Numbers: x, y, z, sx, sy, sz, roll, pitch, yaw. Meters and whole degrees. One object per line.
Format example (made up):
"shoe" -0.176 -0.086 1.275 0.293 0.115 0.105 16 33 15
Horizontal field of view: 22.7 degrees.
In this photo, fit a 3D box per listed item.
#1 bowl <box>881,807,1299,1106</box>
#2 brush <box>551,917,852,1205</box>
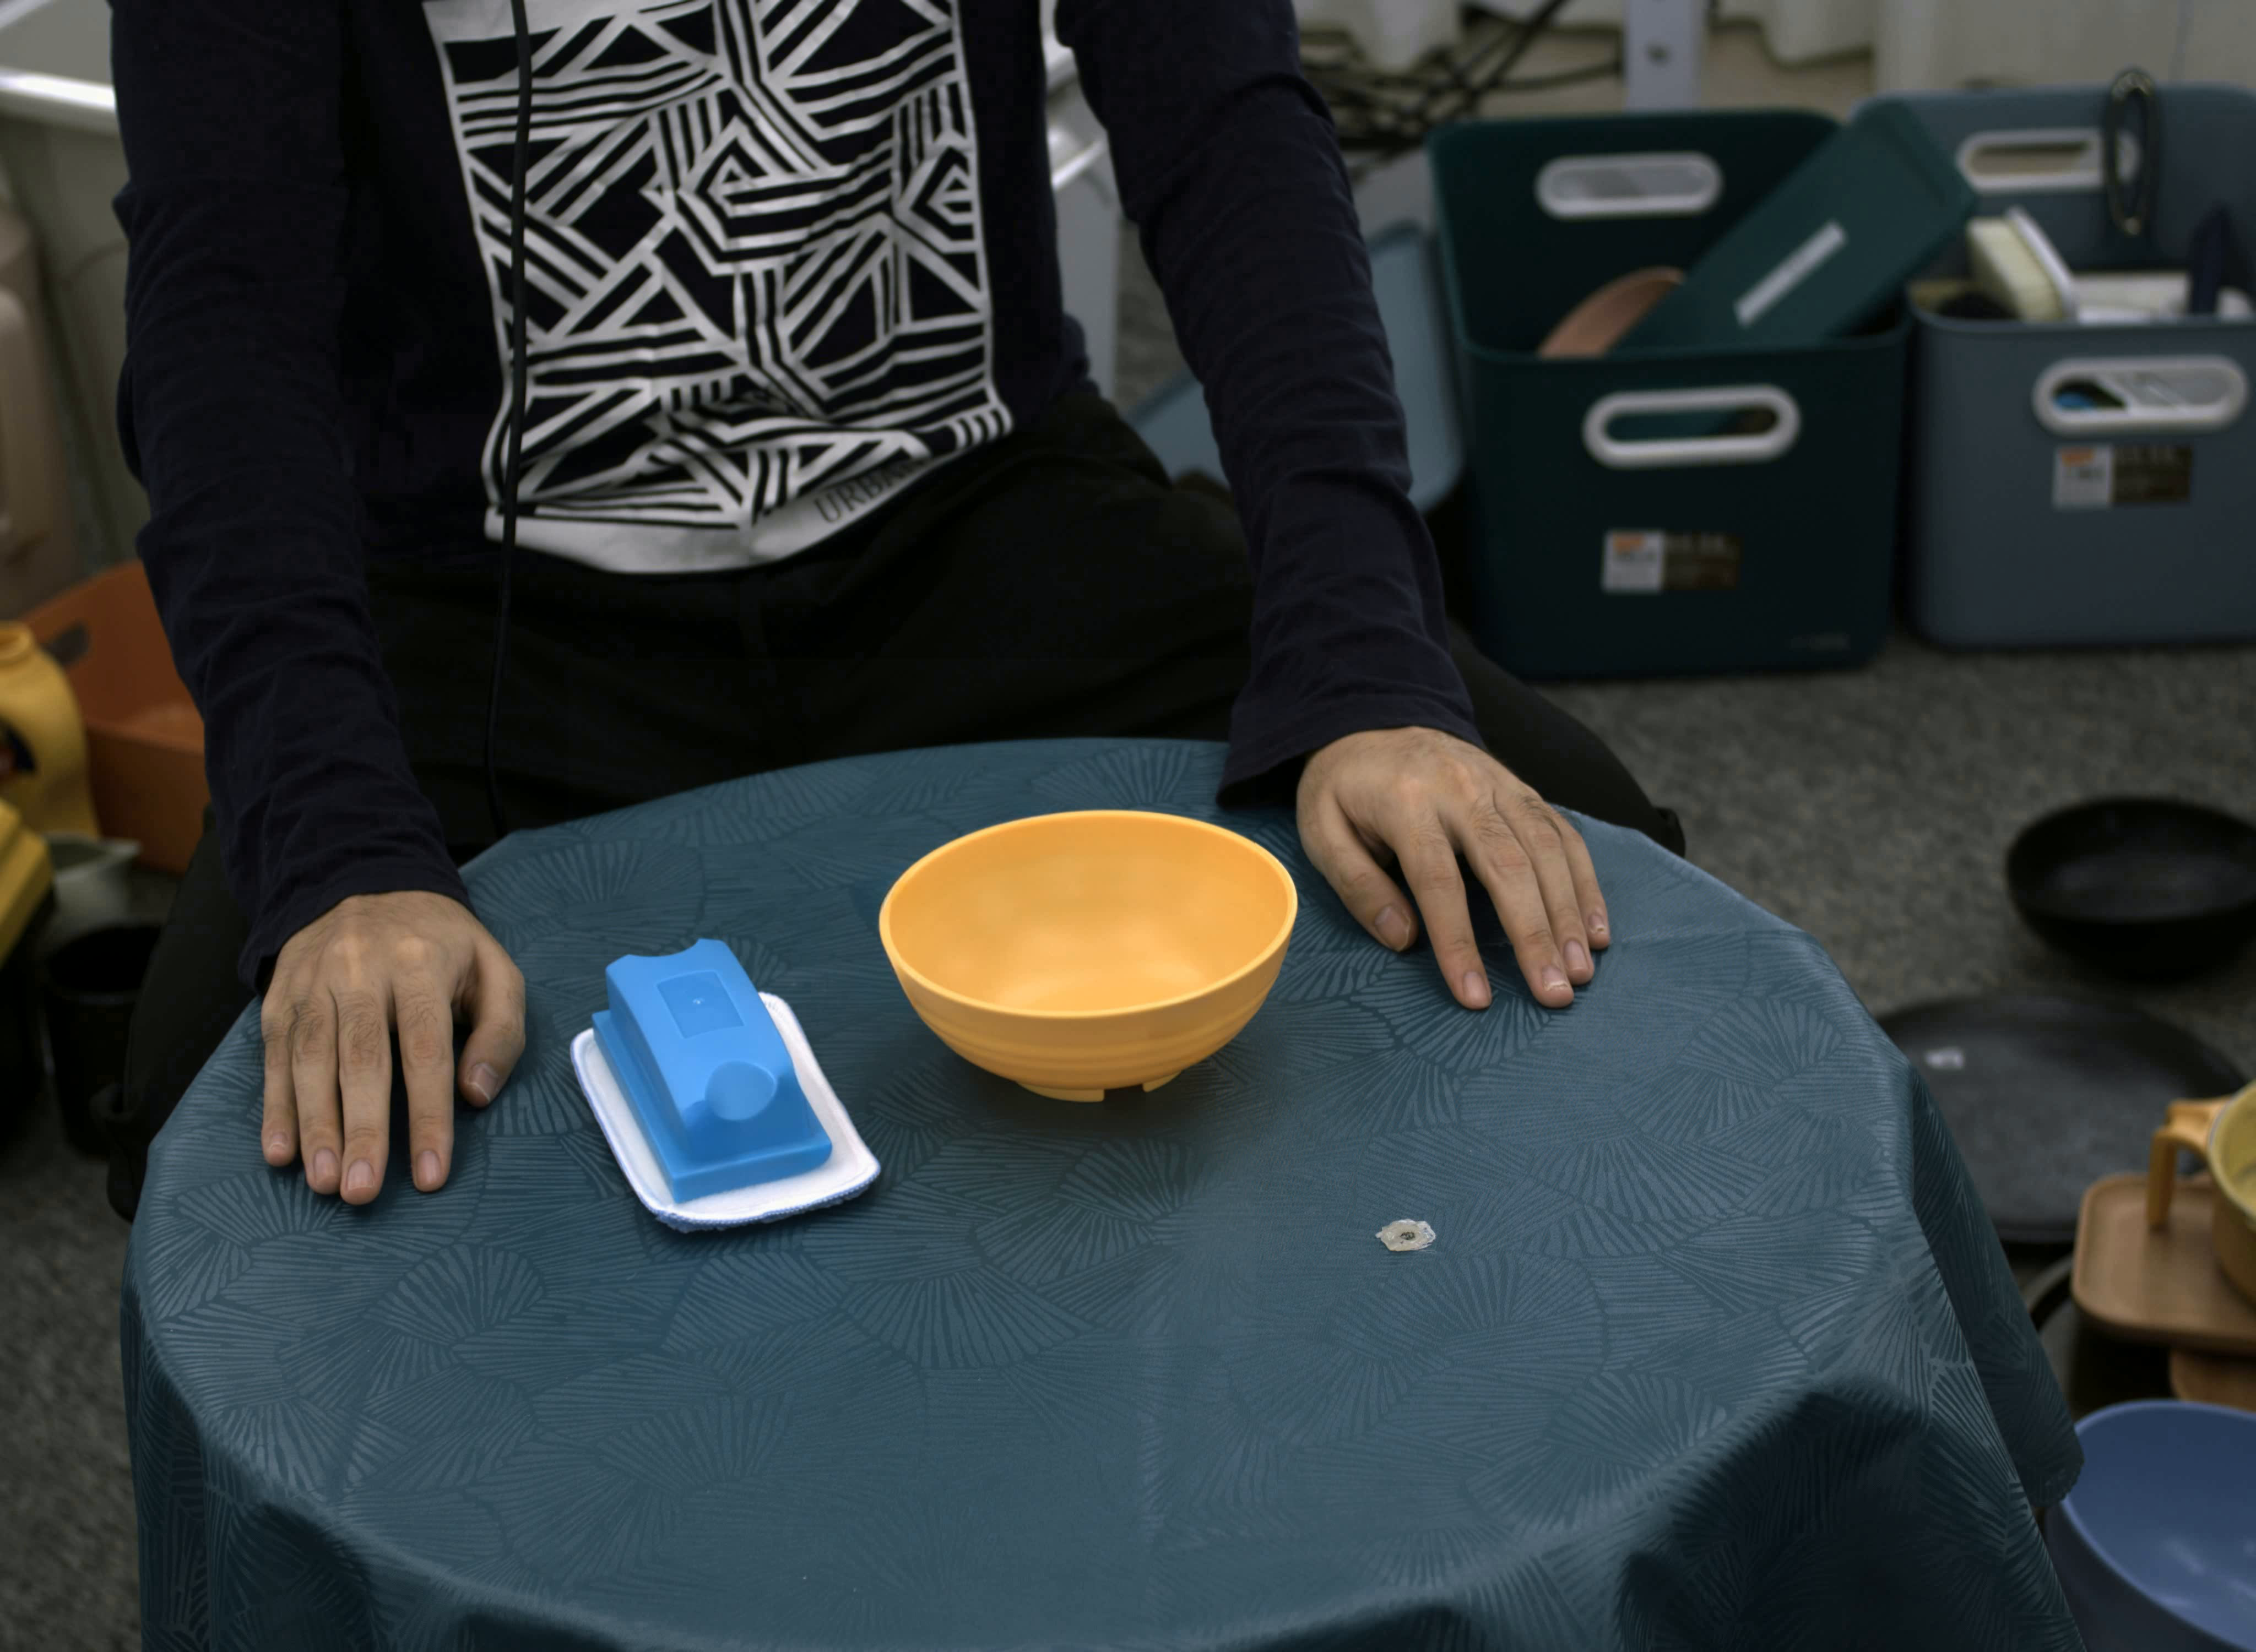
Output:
"bowl" -0.012 0.054 1.930 0.144 0.059 0.147 -1 29 1
"brush" -0.144 0.075 1.897 0.084 0.055 0.145 -7 29 -15
